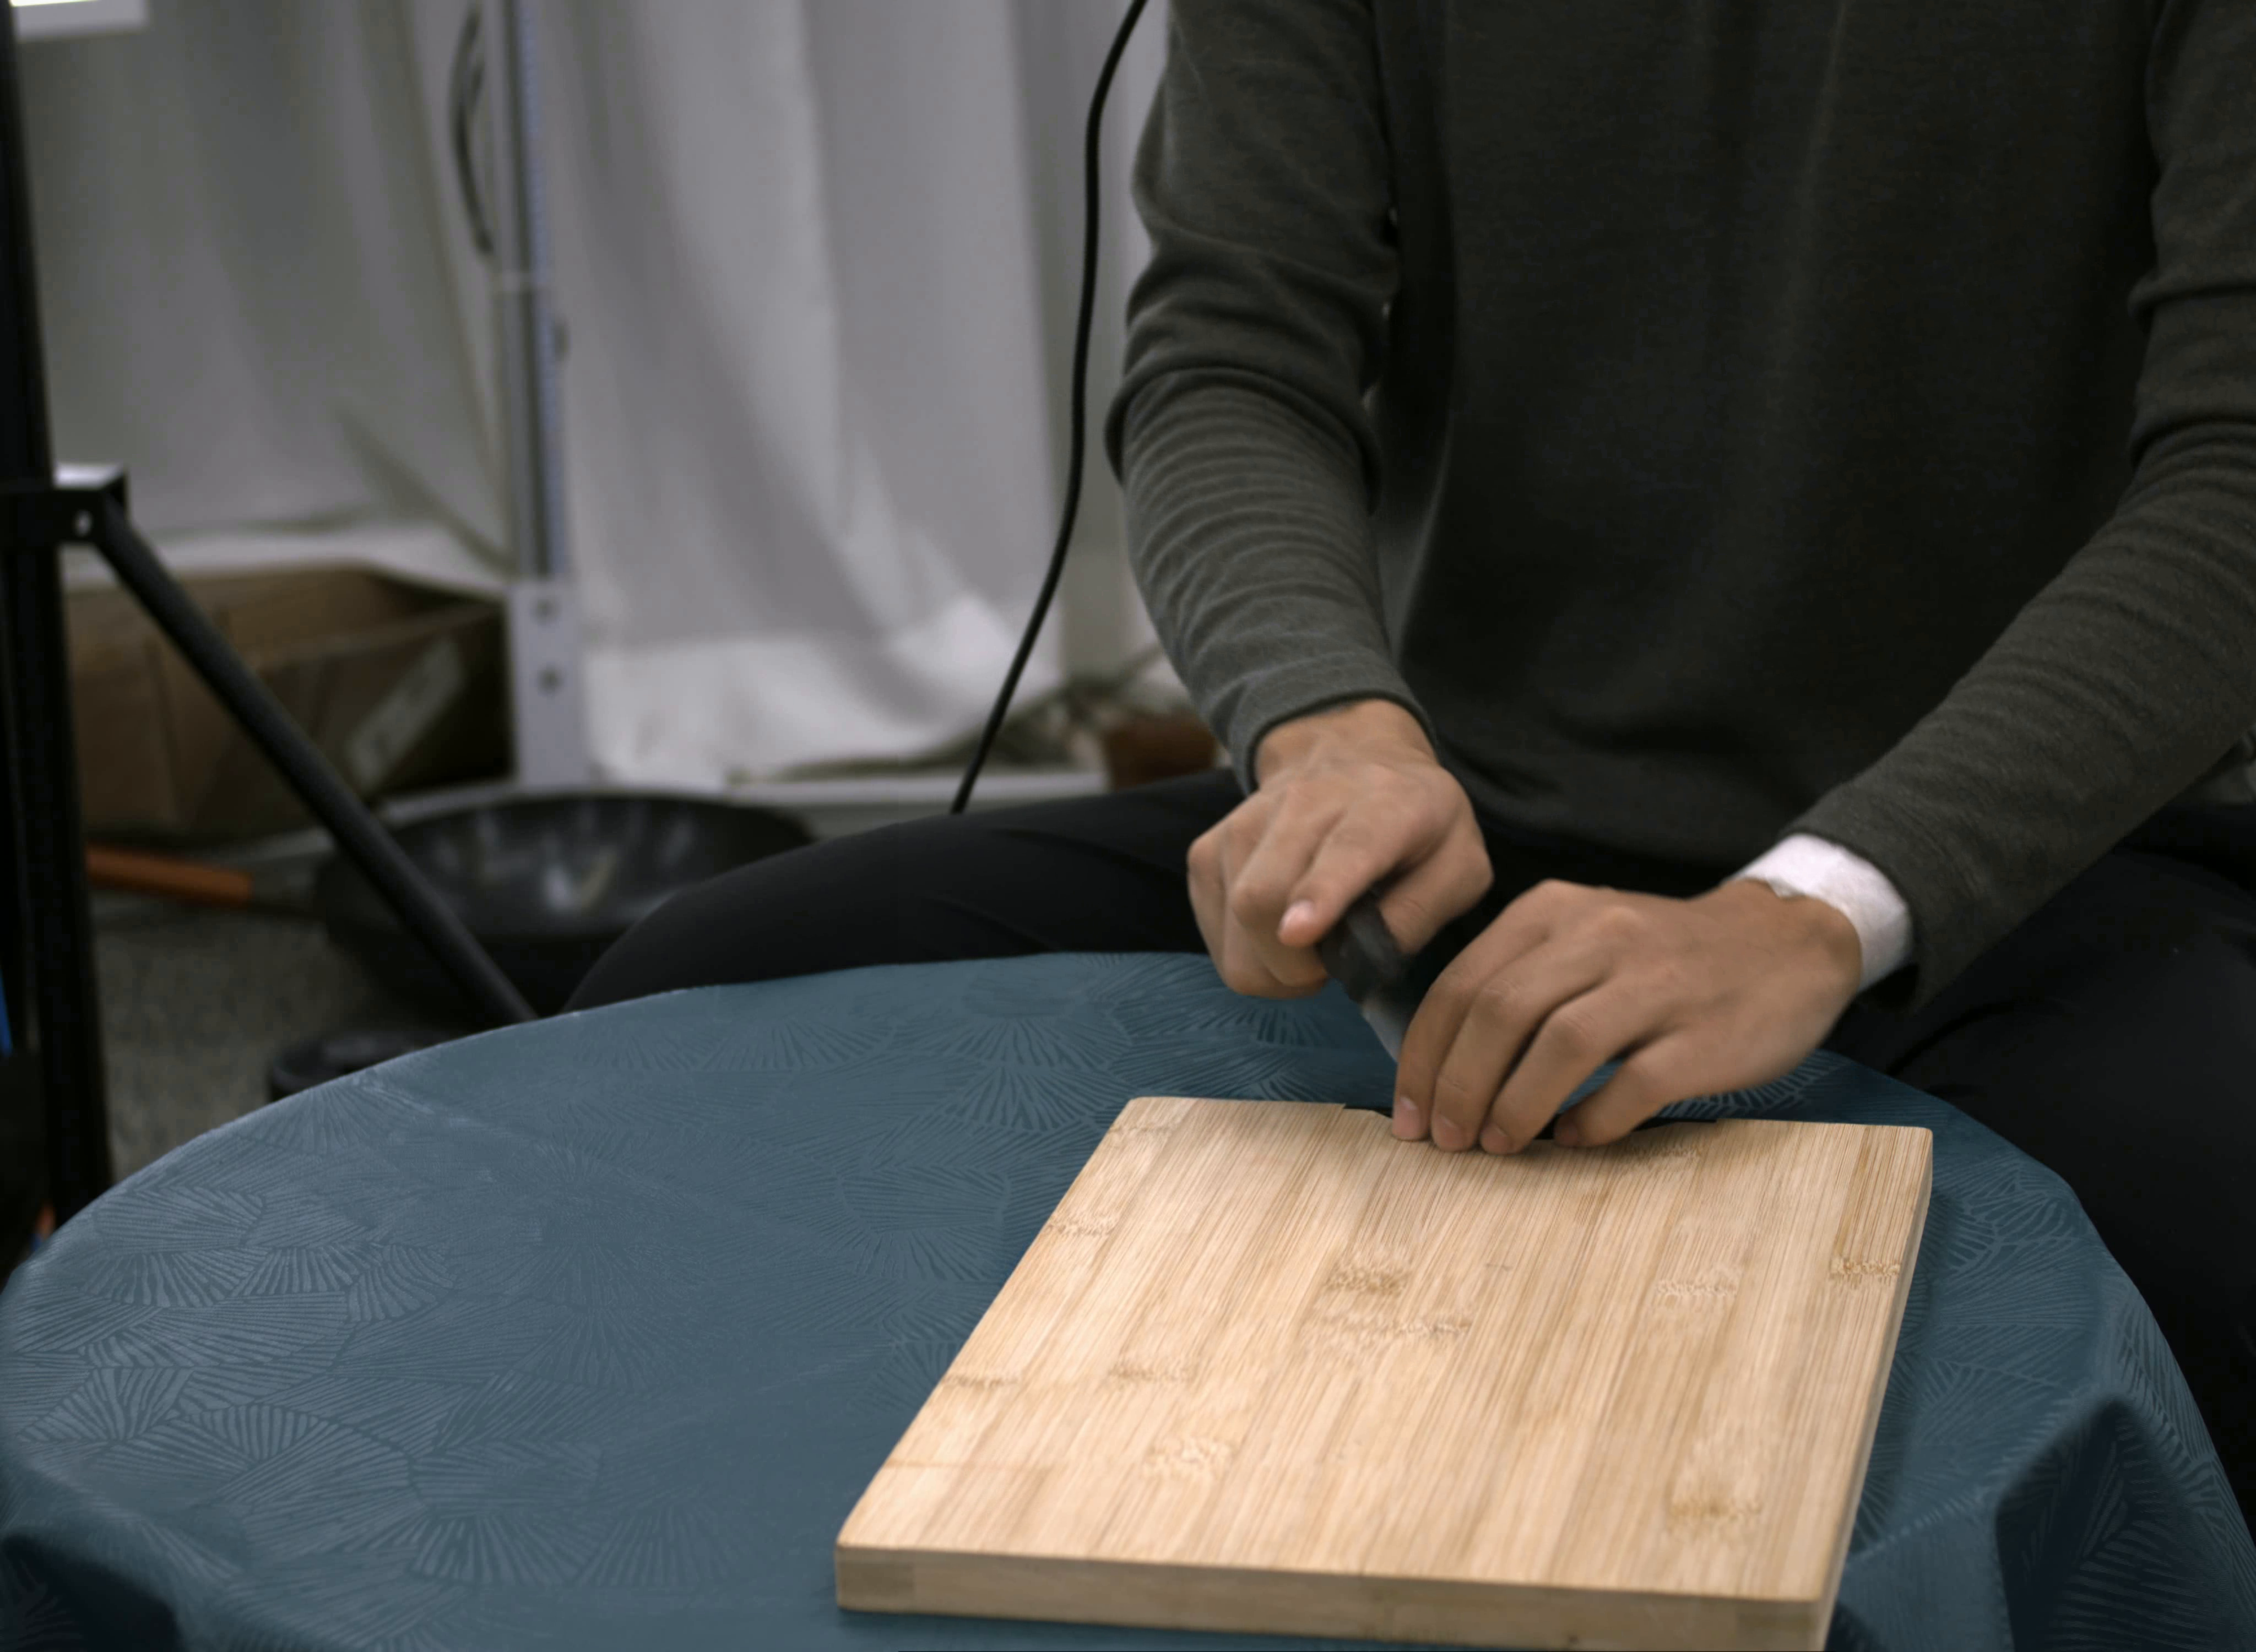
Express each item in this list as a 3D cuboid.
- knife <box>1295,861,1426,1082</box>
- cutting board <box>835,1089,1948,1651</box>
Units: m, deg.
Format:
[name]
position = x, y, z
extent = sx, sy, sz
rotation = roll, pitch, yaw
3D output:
[knife]
position = 0.067, 0.039, 1.483
extent = 0.016, 0.024, 0.239
rotation = 9, 10, -7
[cutting board]
position = 0.084, 0.139, 1.412
extent = 0.252, 0.023, 0.346
rotation = 2, 16, 12
